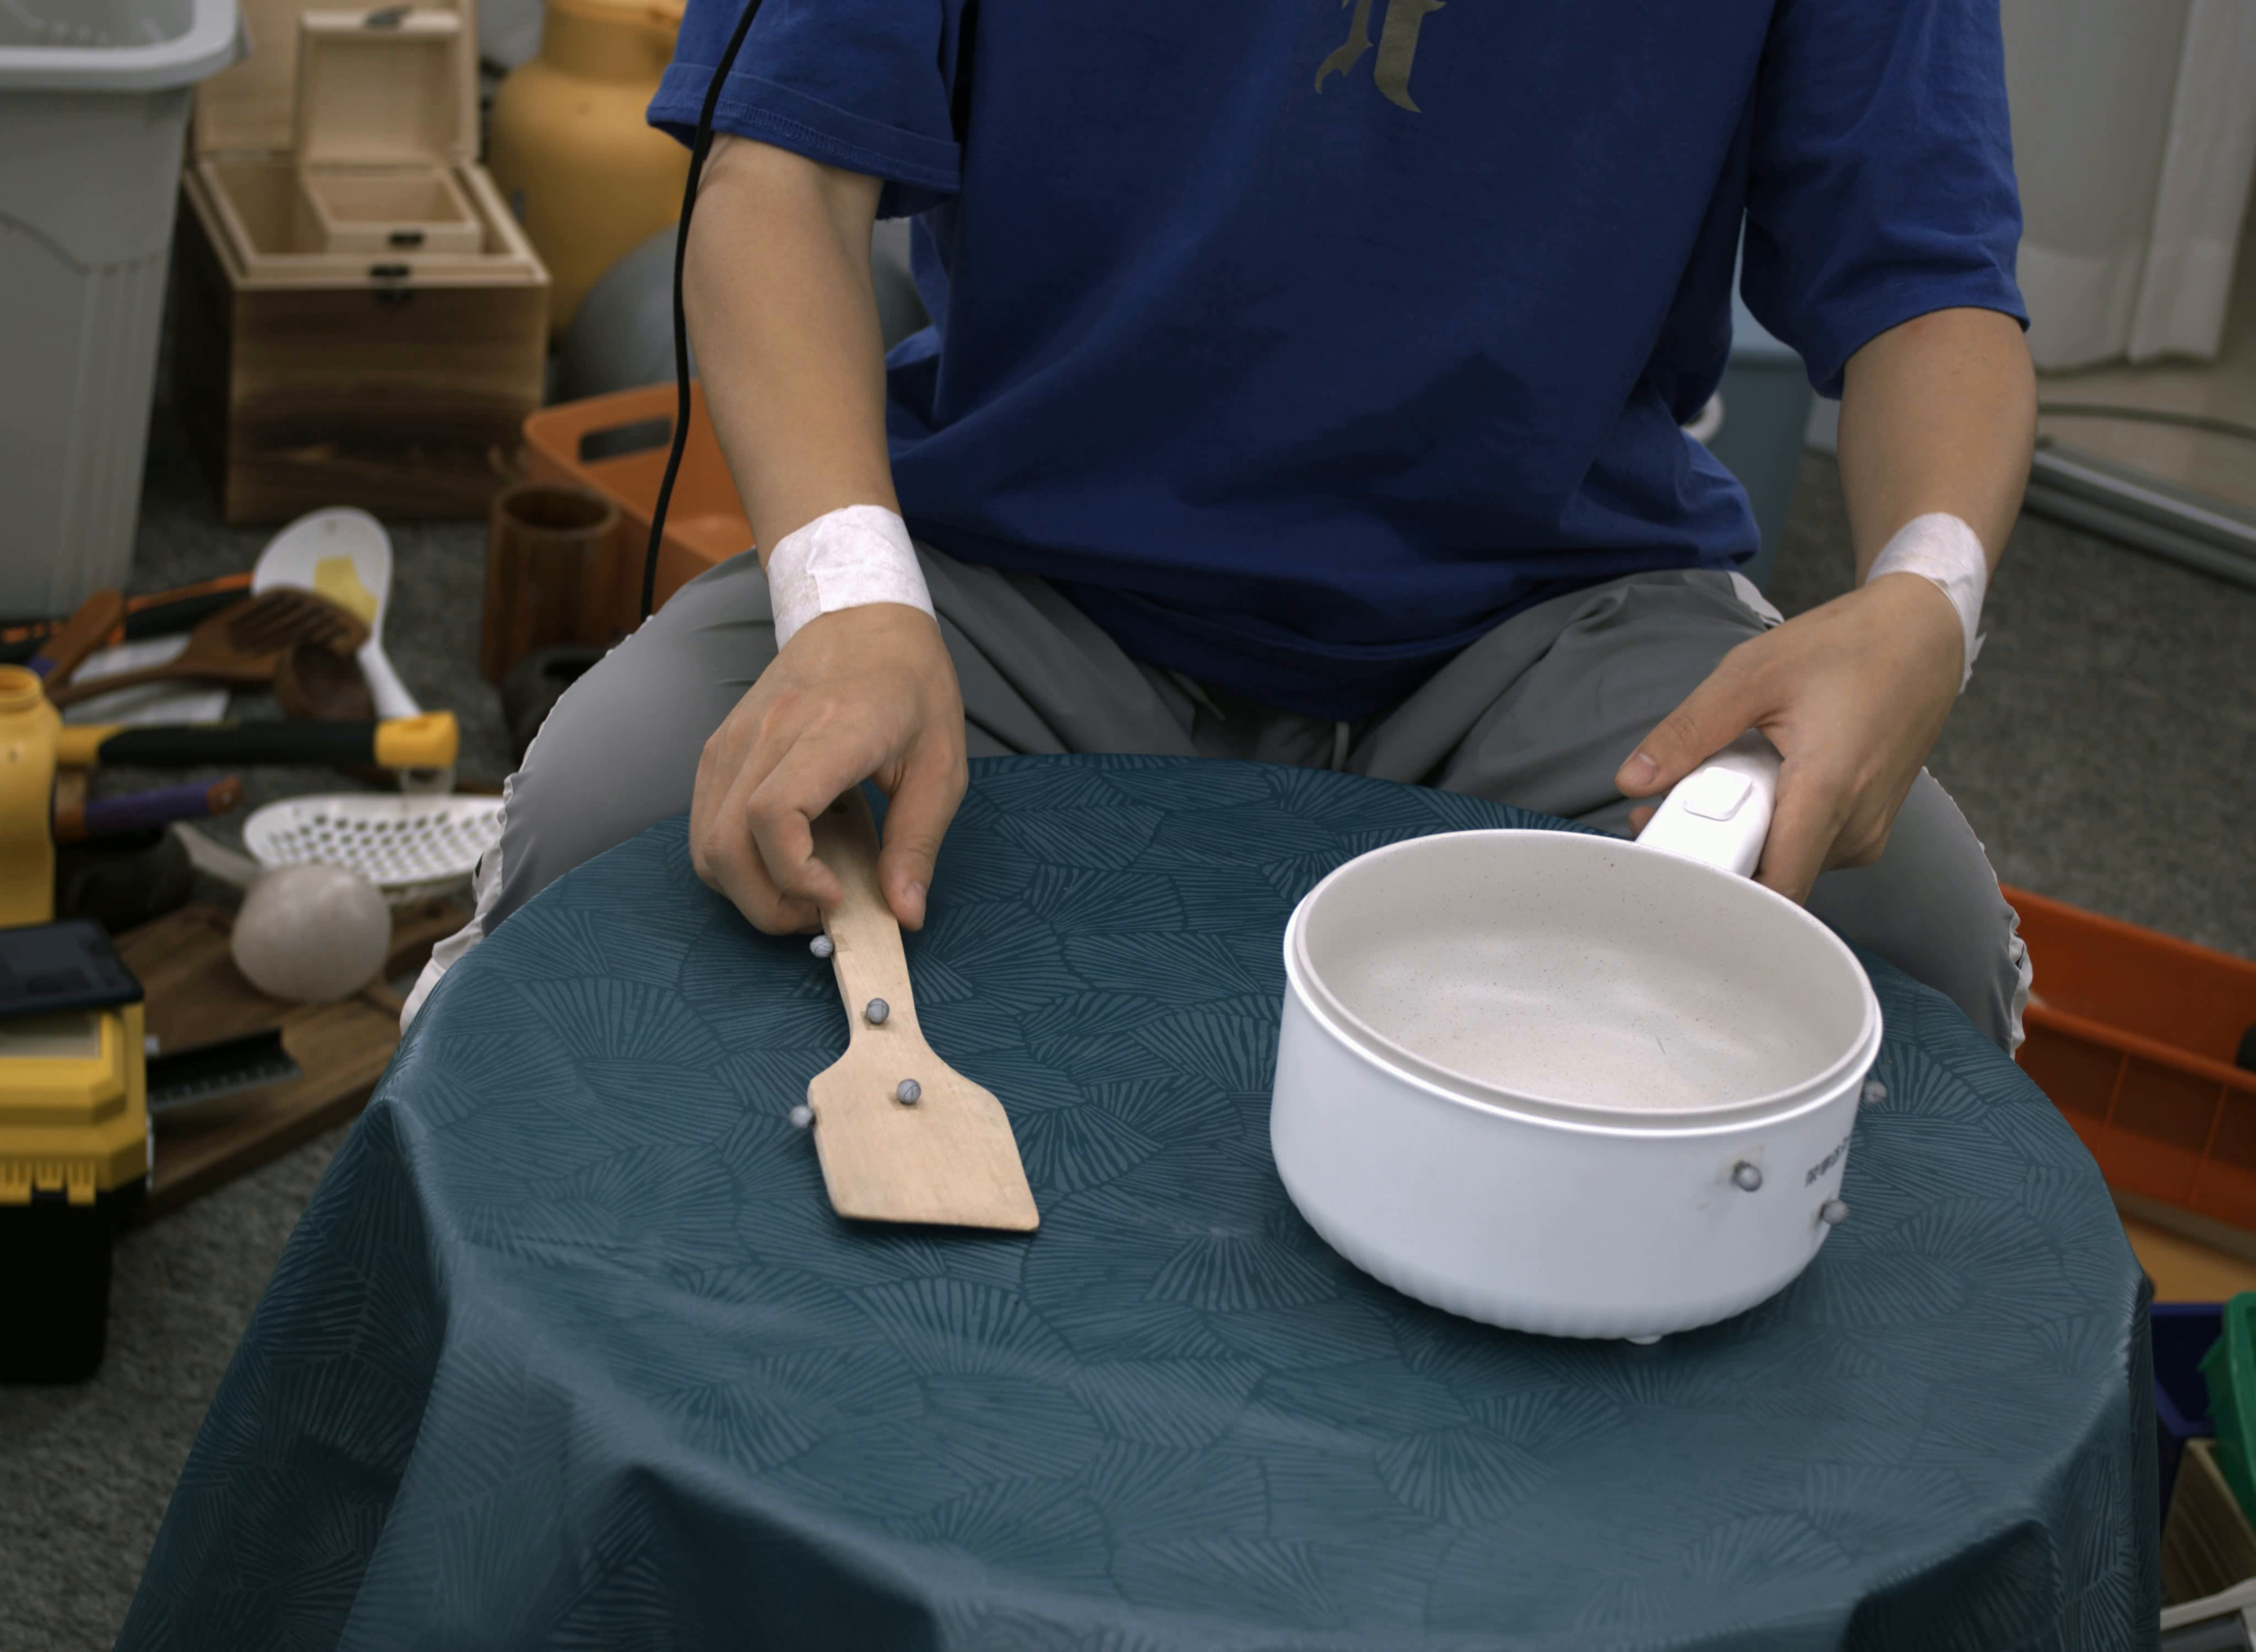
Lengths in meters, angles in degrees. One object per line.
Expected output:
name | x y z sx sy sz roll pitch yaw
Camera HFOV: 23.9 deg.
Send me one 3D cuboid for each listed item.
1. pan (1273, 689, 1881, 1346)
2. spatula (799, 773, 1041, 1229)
pan | 0.176 0.062 1.857 0.202 0.102 0.355 14 28 18
spatula | -0.088 0.057 1.887 0.072 0.010 0.295 5 30 -15
